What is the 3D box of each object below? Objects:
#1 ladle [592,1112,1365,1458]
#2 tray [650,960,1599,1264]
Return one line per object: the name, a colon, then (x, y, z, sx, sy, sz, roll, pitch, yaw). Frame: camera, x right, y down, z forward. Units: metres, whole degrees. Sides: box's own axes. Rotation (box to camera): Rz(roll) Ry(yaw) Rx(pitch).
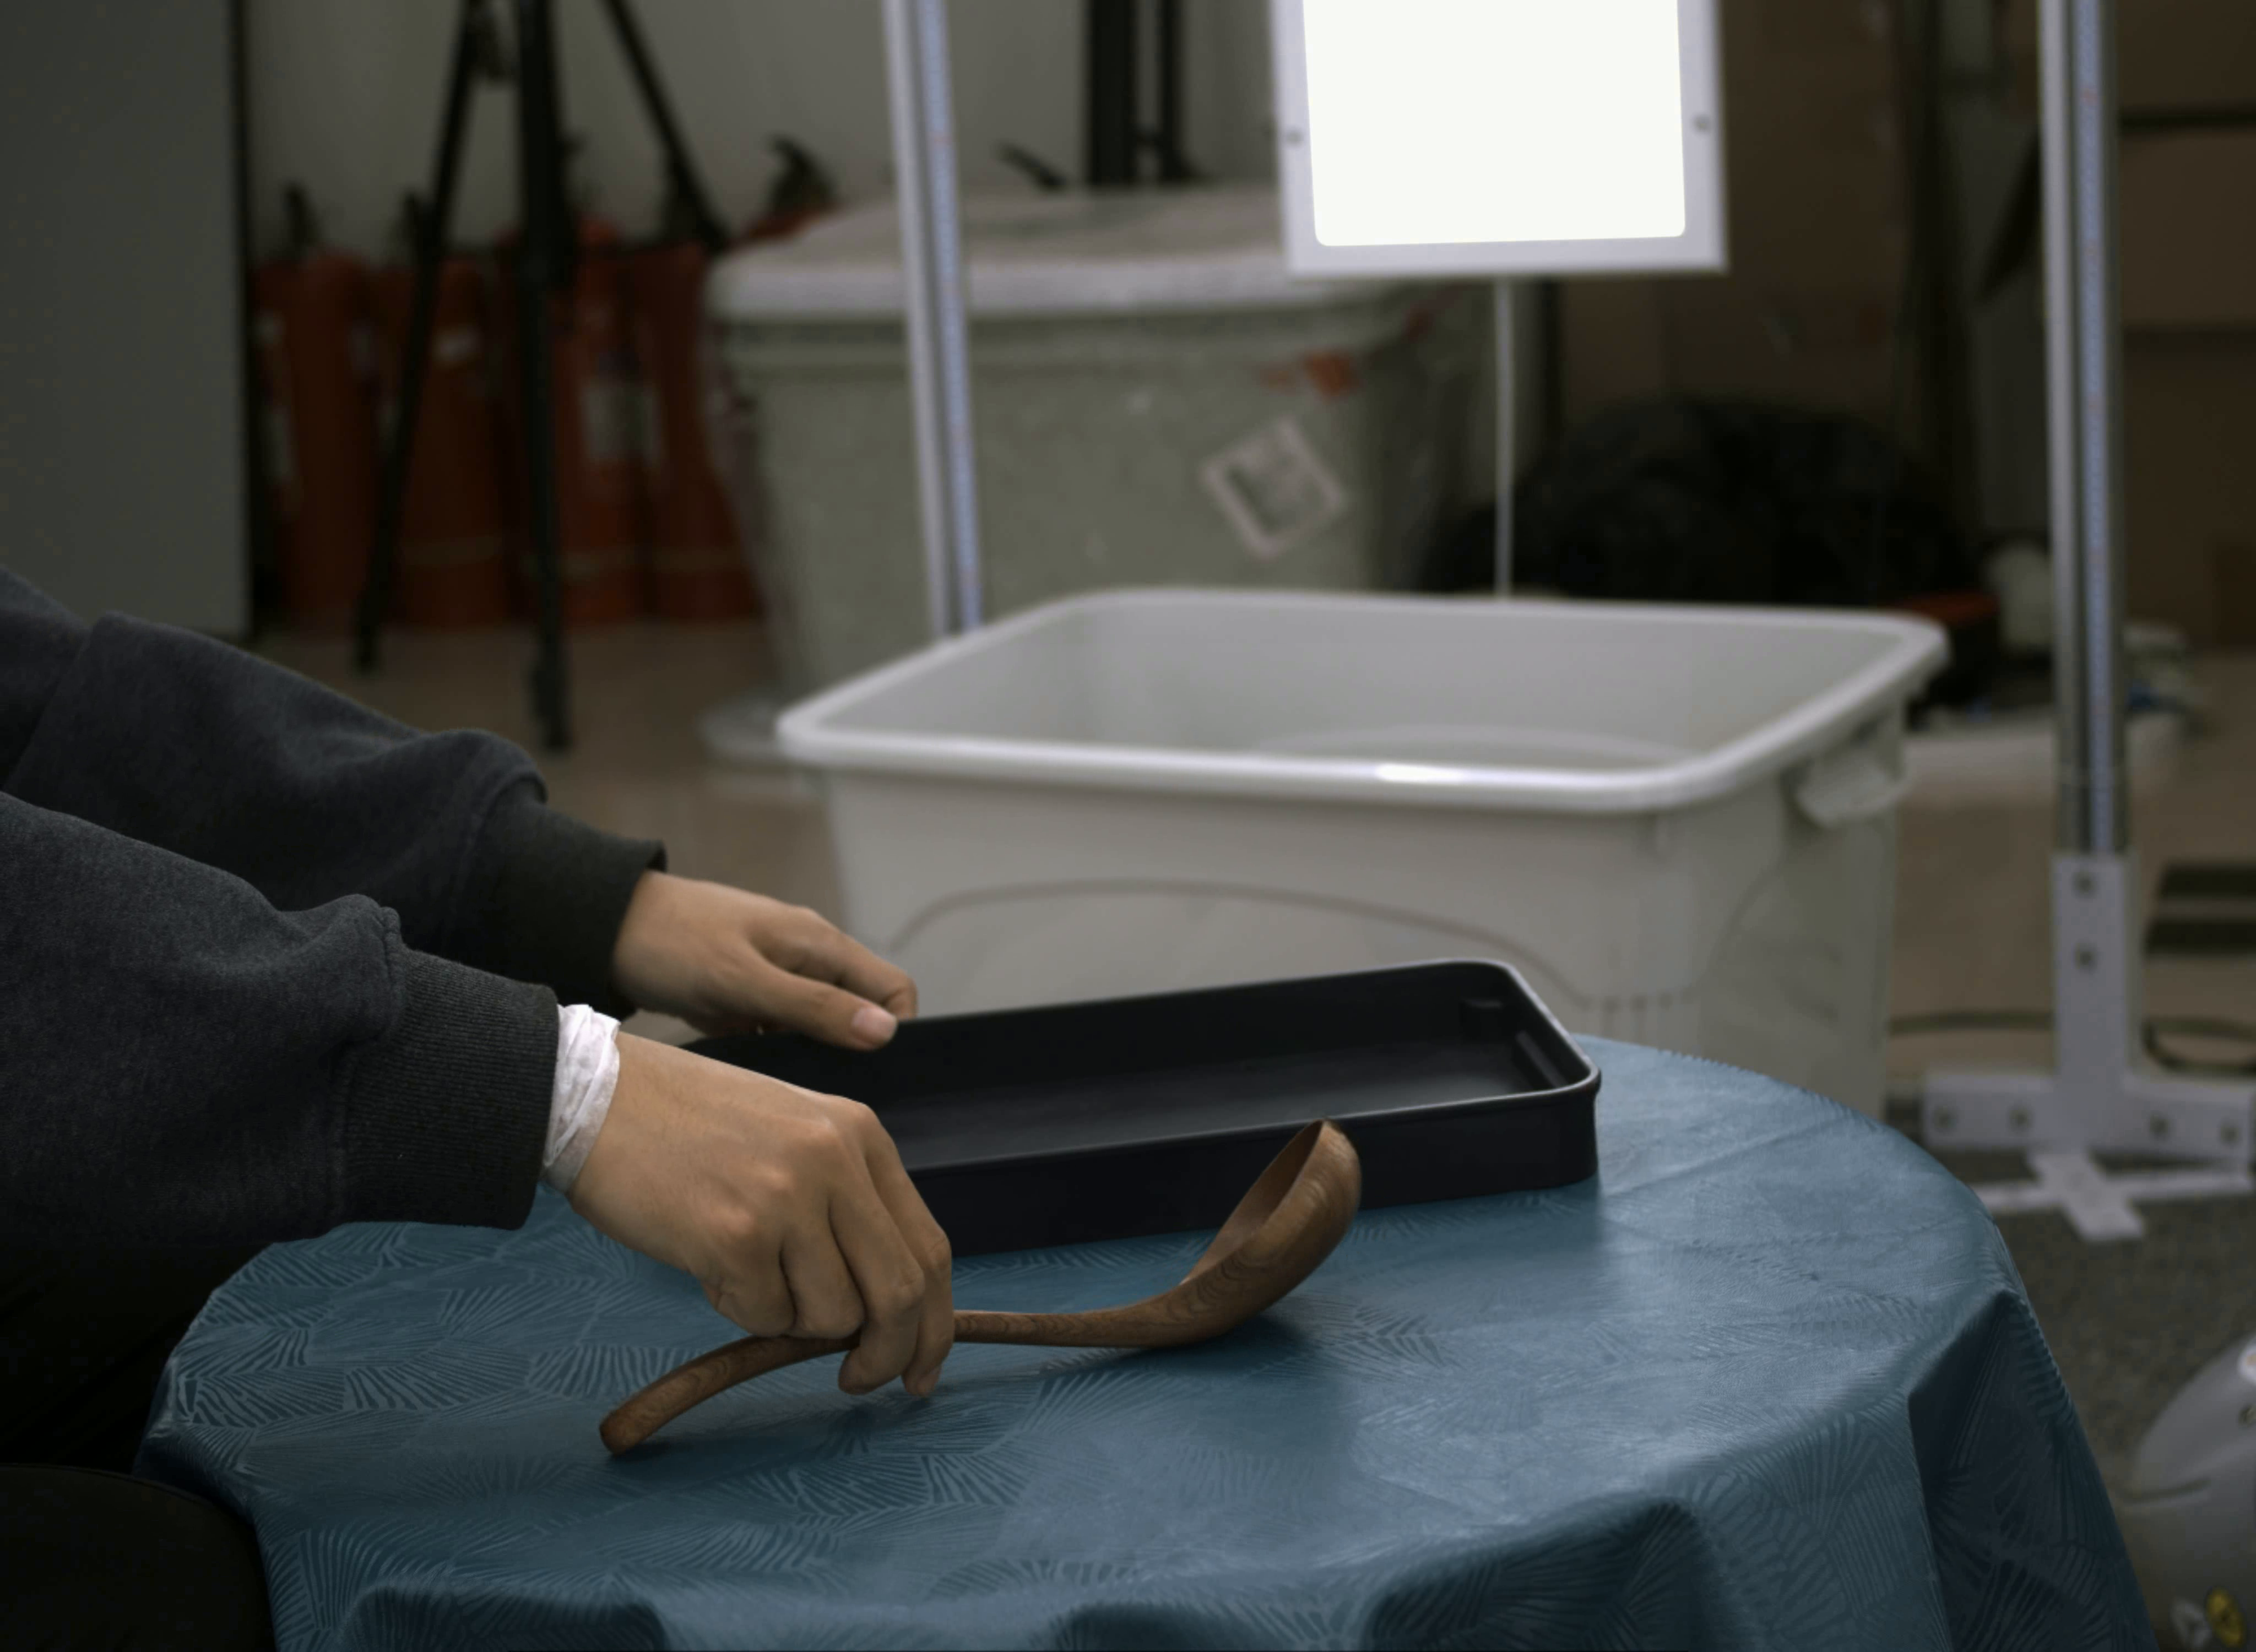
ladle: (-0.046, 0.142, 1.719, 0.256, 0.065, 0.077, -9, -12, -15)
tray: (-0.005, 0.098, 1.930, 0.316, 0.037, 0.185, -5, 14, -5)
